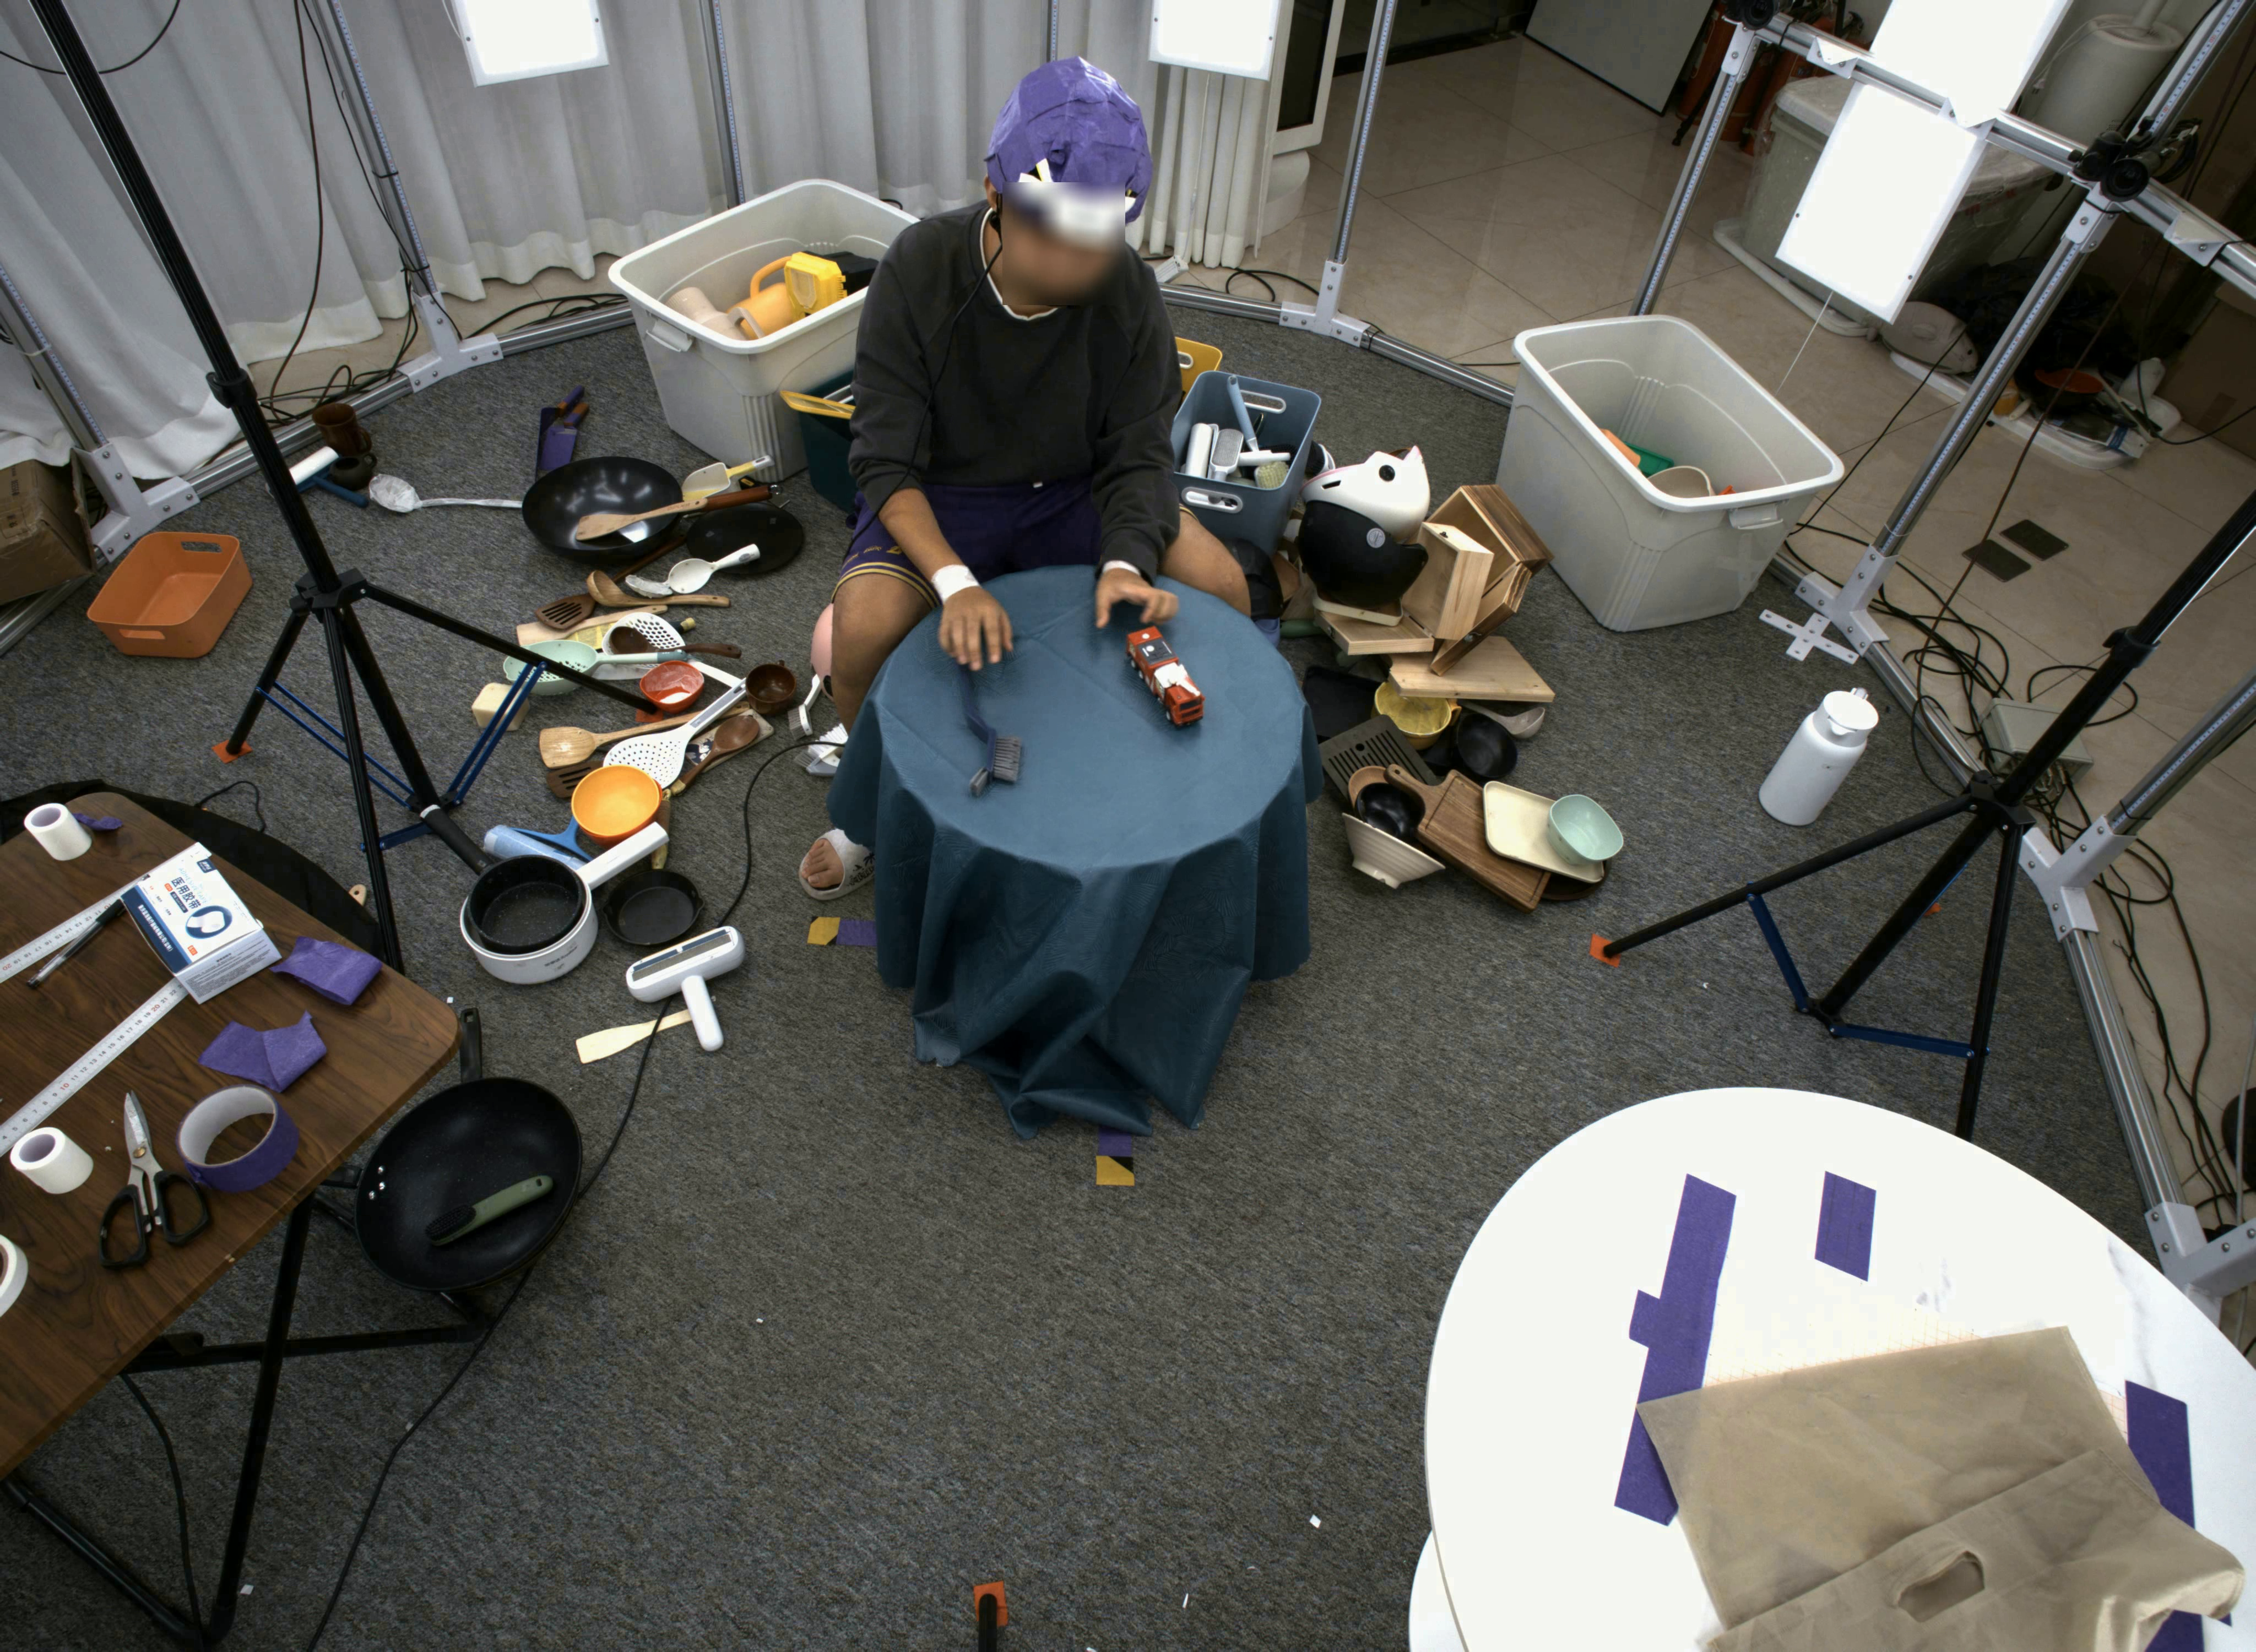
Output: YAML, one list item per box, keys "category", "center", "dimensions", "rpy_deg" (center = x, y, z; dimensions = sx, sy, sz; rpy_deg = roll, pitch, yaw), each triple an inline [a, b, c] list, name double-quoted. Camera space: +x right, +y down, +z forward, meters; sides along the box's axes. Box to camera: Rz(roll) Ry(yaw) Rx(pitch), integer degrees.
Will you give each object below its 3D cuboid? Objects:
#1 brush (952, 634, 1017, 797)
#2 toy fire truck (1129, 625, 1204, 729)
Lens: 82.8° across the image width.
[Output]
- category: "brush"
  center: [-0.224, -0.158, 1.767]
  dimensions: [0.096, 0.033, 0.279]
  rpy_deg: [-16, 53, -18]
- category: "toy fire truck"
  center: [0.054, -0.212, 1.816]
  dimensions: [0.054, 0.068, 0.172]
  rpy_deg: [-19, 52, -16]
